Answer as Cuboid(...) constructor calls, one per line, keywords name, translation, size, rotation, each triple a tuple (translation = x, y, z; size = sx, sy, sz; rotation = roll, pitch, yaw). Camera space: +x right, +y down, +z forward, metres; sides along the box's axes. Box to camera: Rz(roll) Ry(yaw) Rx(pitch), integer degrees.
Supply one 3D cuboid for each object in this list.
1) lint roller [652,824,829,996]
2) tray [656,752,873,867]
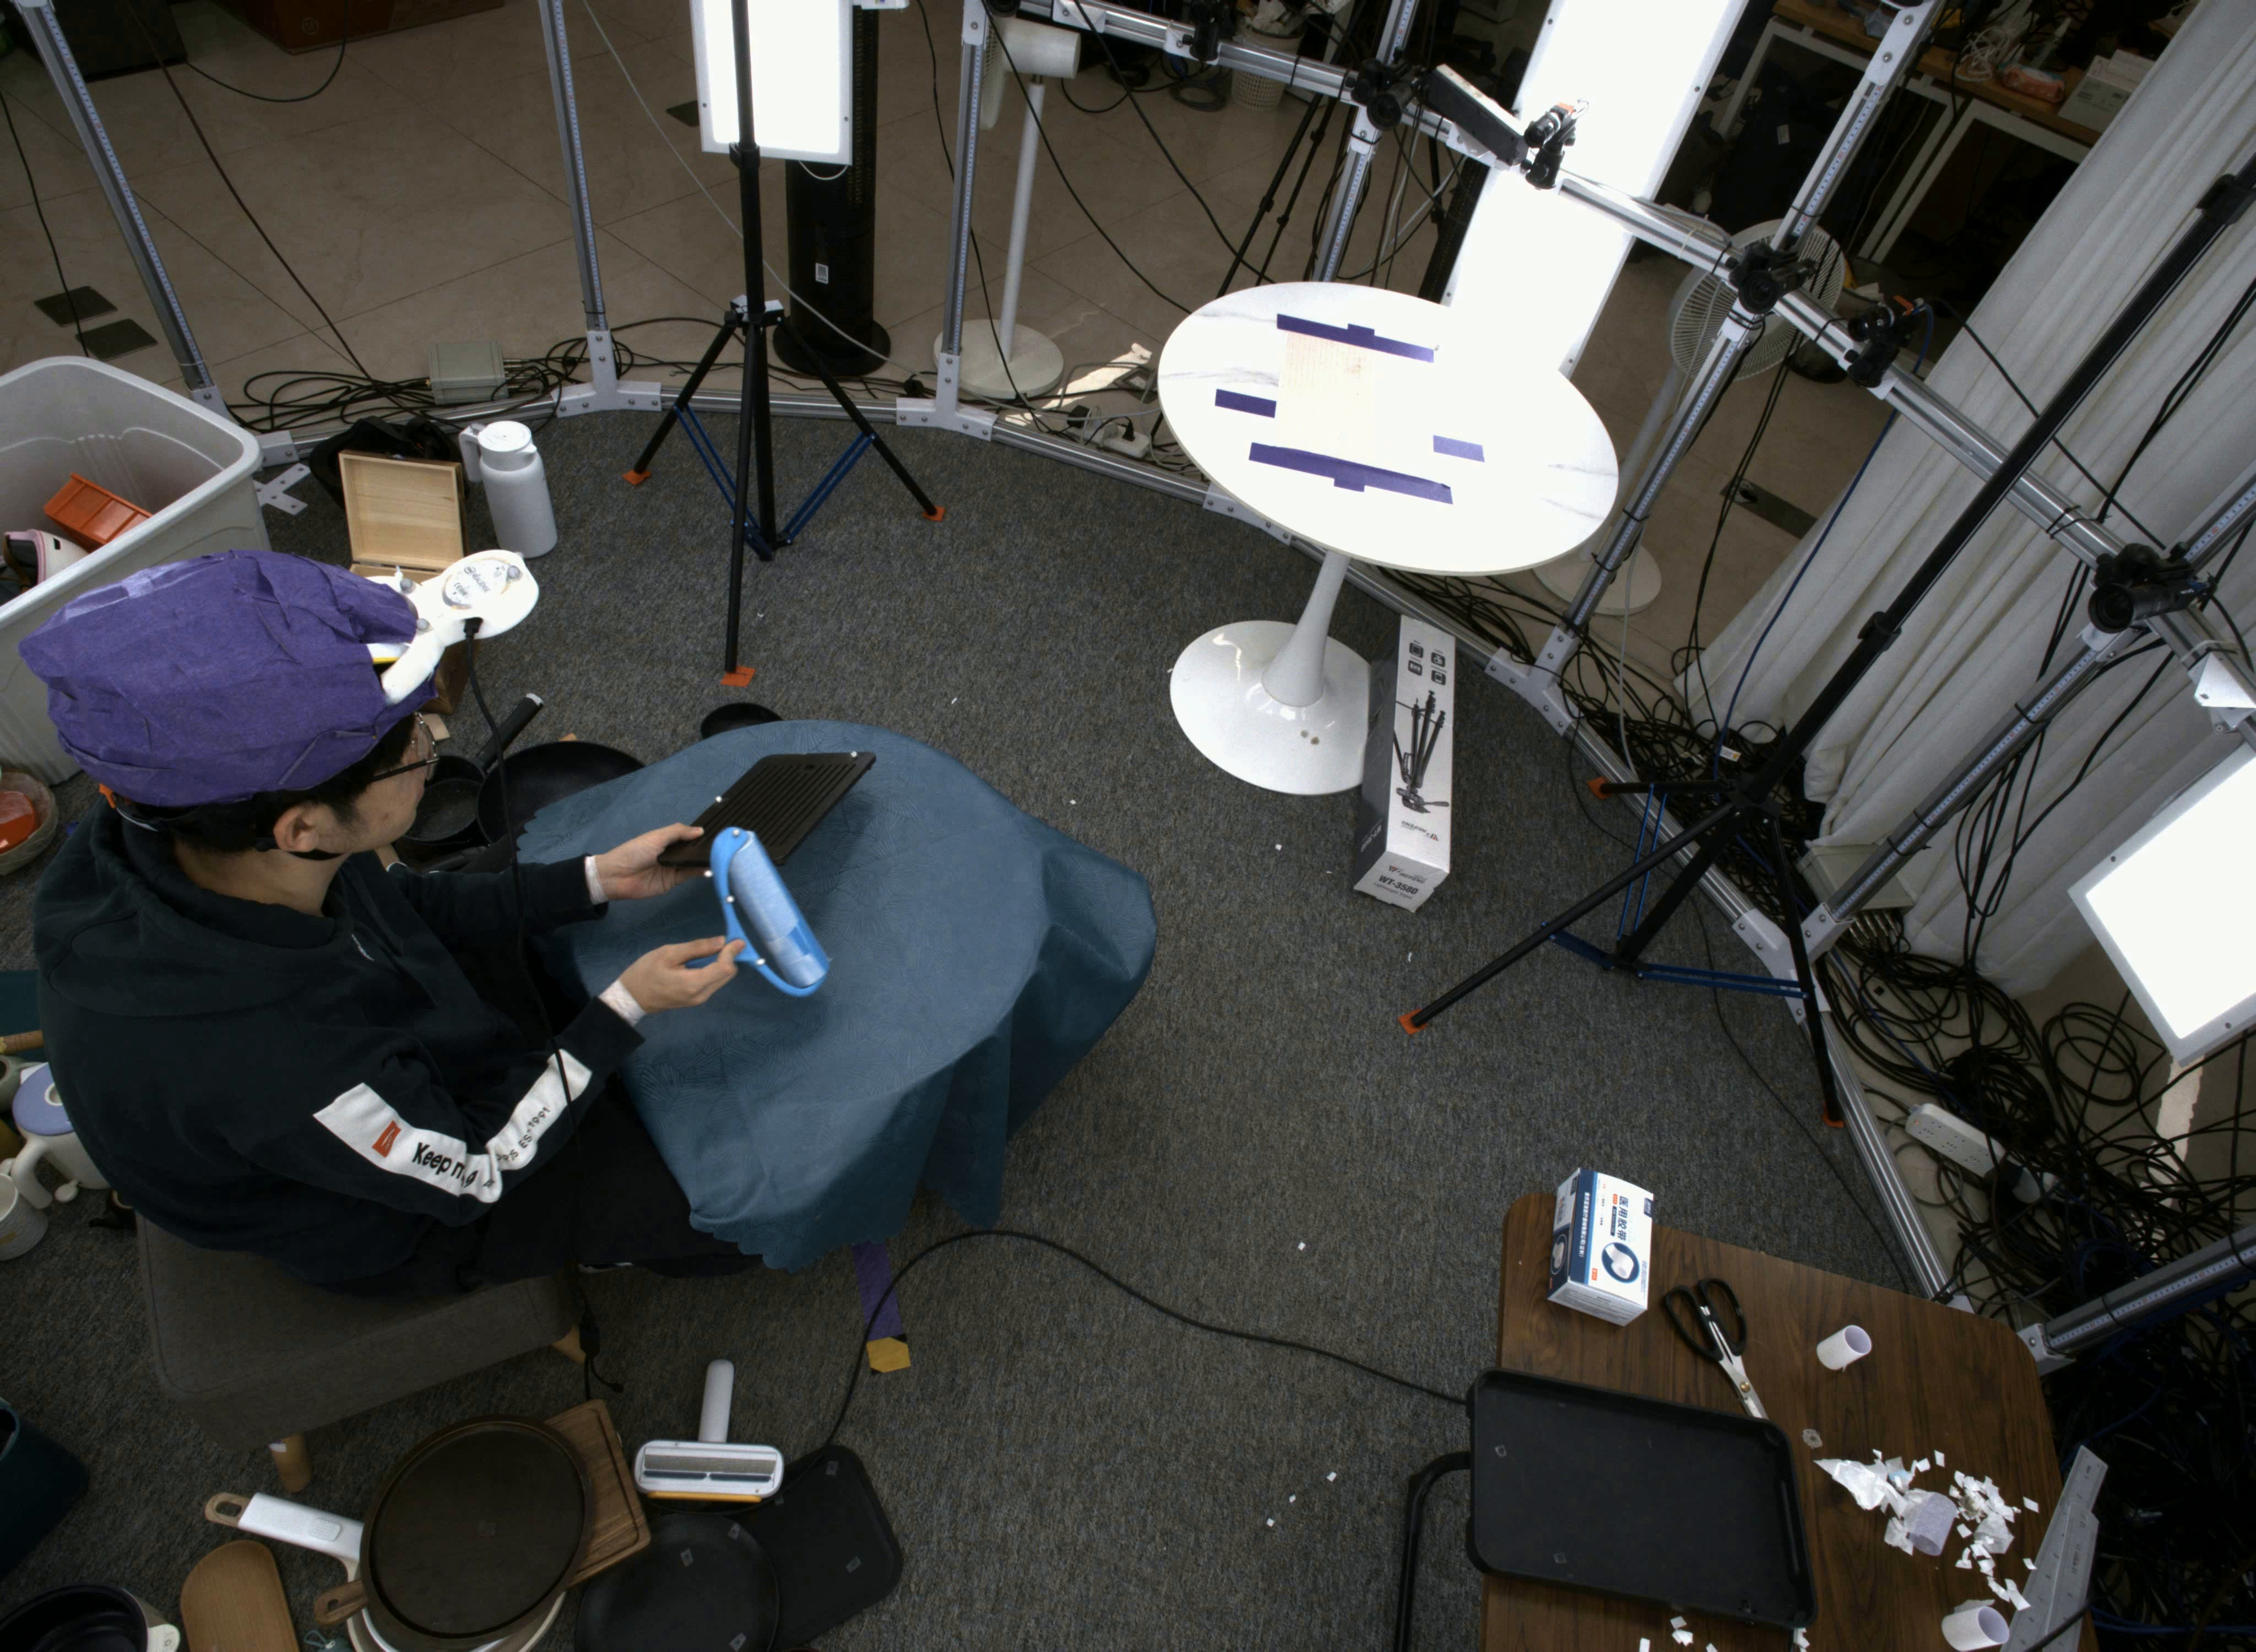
Cuboid(name="lint roller", translation=(-0.457, 0.130, 1.474), size=(0.180, 0.238, 0.065), rotation=(-40, 36, -22))
Cuboid(name="tray", translation=(-0.451, -0.023, 1.634), size=(0.166, 0.019, 0.302), rotation=(0, 27, 13))
